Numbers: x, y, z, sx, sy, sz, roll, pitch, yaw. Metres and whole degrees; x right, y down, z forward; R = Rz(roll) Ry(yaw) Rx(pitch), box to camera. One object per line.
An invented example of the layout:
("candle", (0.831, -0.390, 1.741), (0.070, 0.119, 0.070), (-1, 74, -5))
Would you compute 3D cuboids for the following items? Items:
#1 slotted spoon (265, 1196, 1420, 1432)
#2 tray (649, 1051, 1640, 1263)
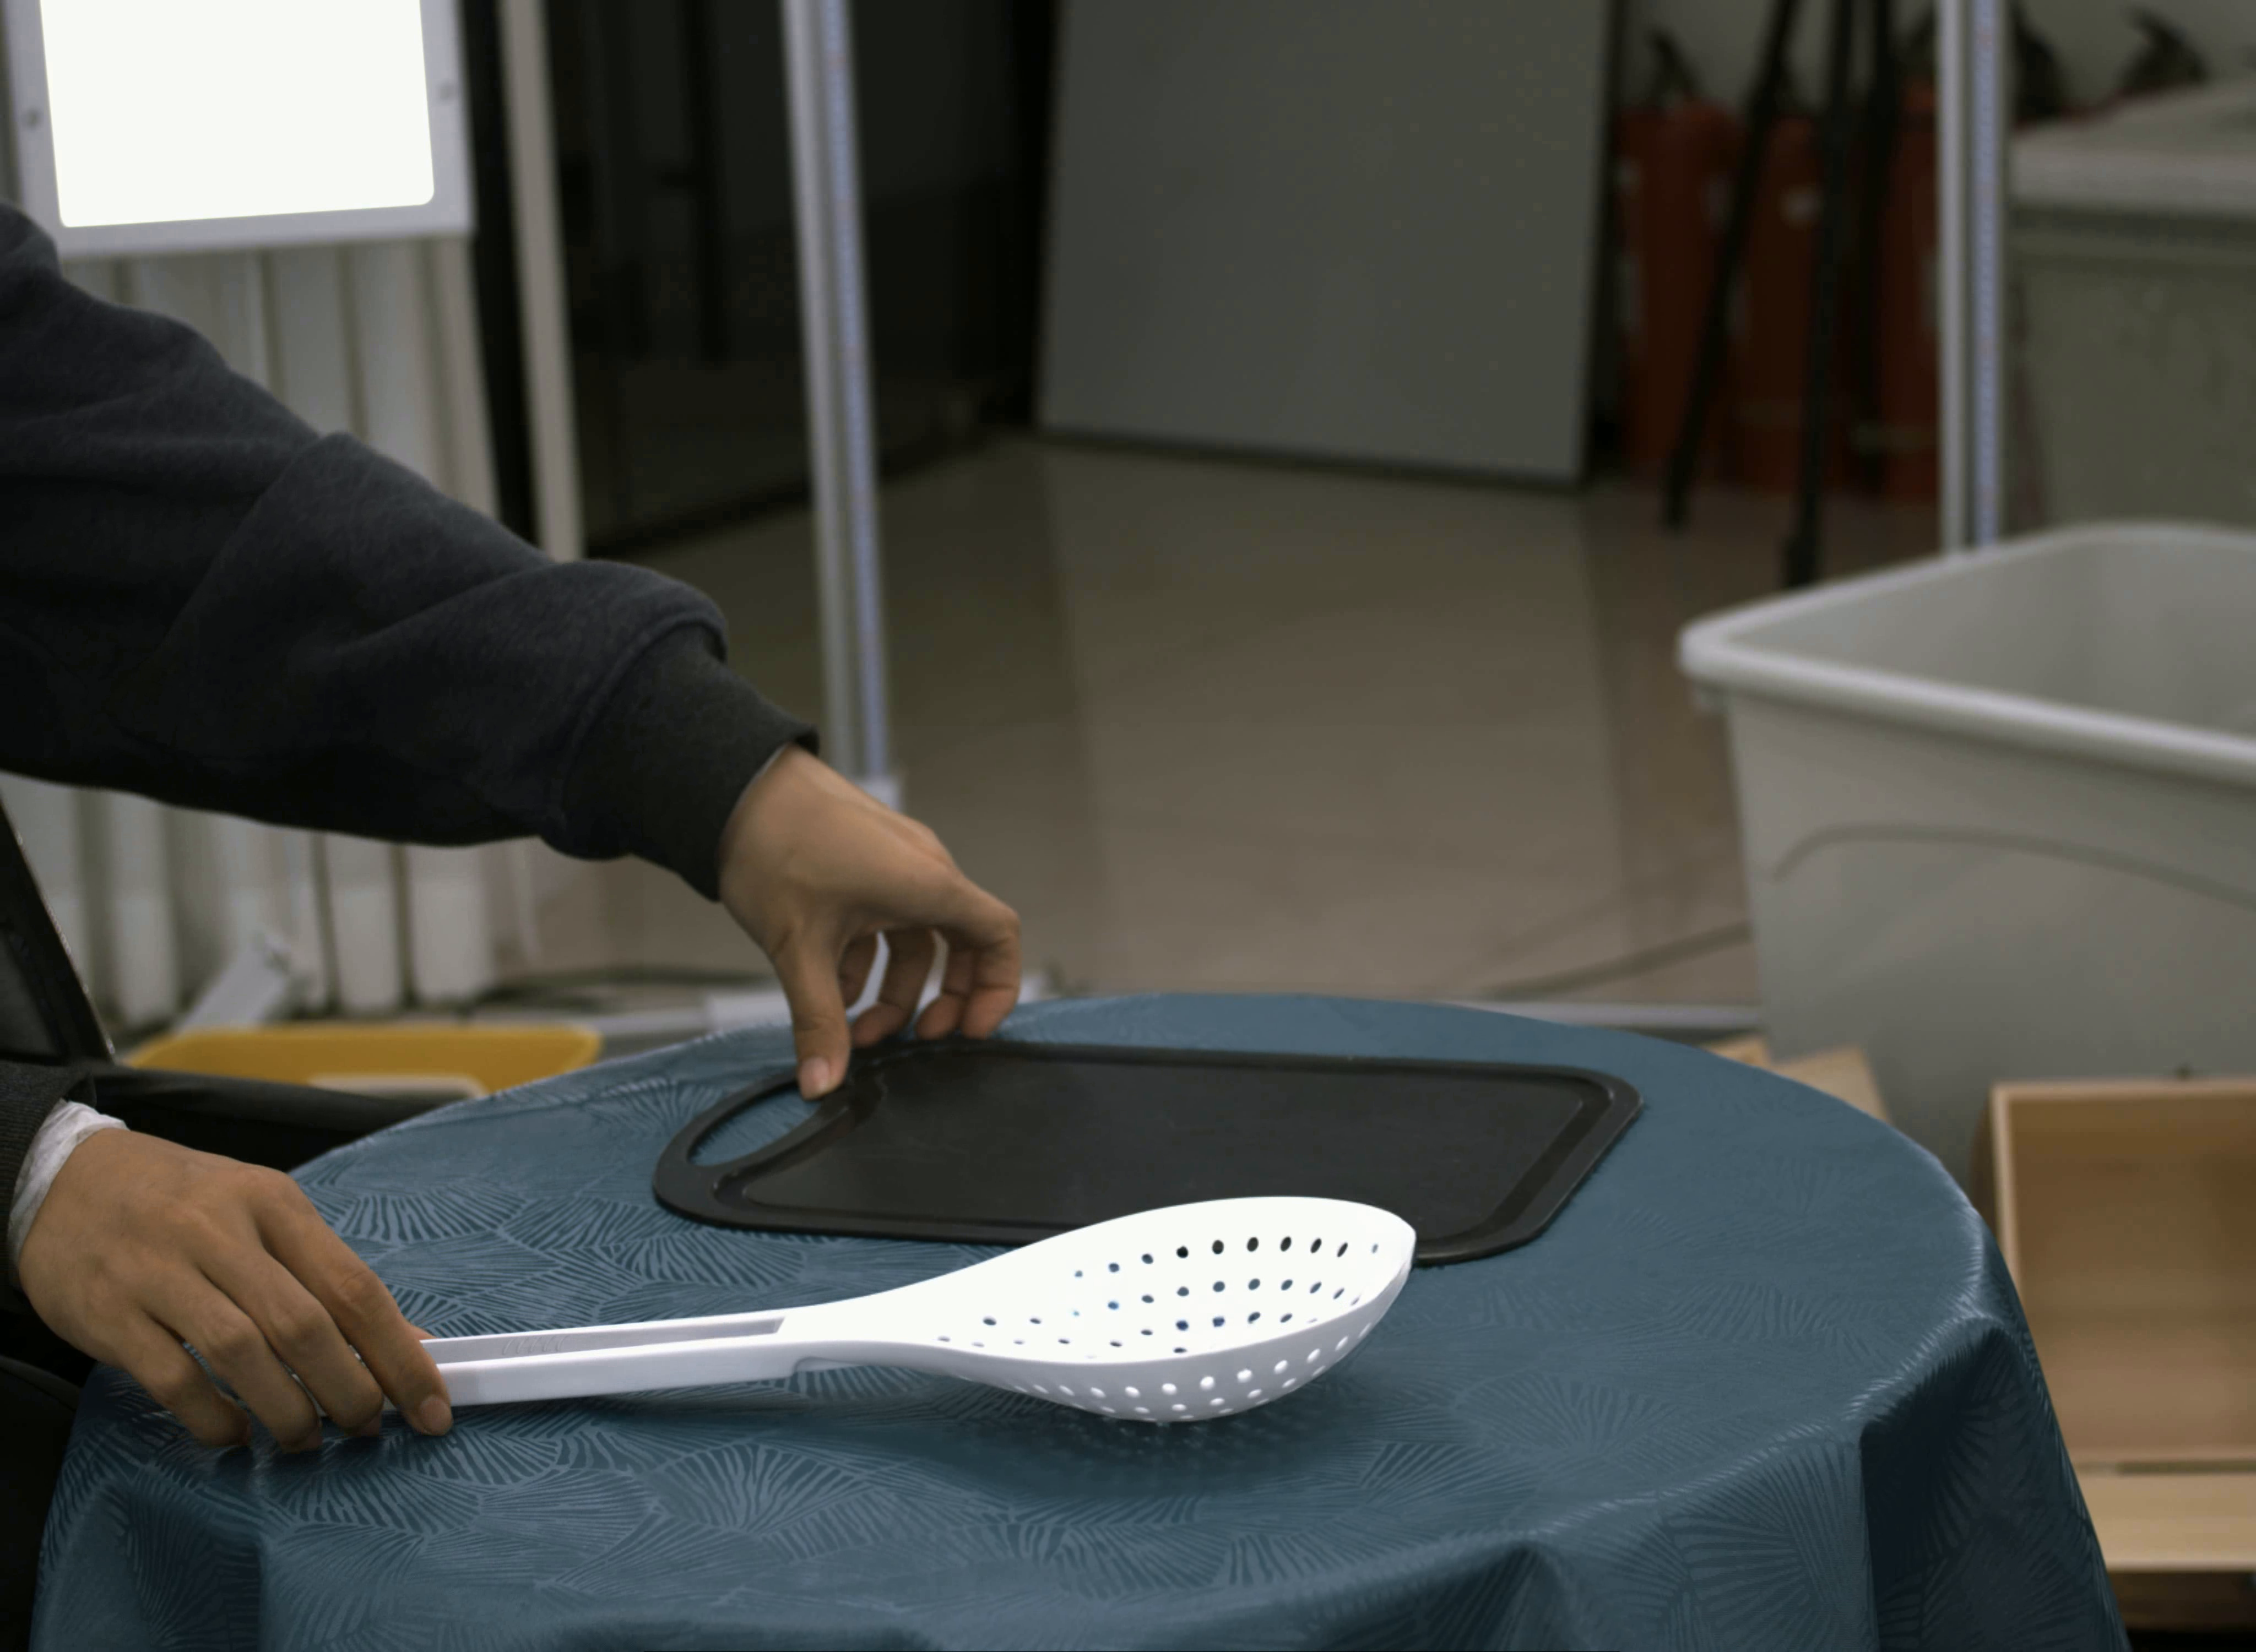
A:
("slotted spoon", (-0.085, 0.149, 1.580), (0.347, 0.046, 0.135), (-3, 13, 10))
("tray", (0.000, 0.108, 1.811), (0.325, 0.010, 0.209), (1, 14, 21))
